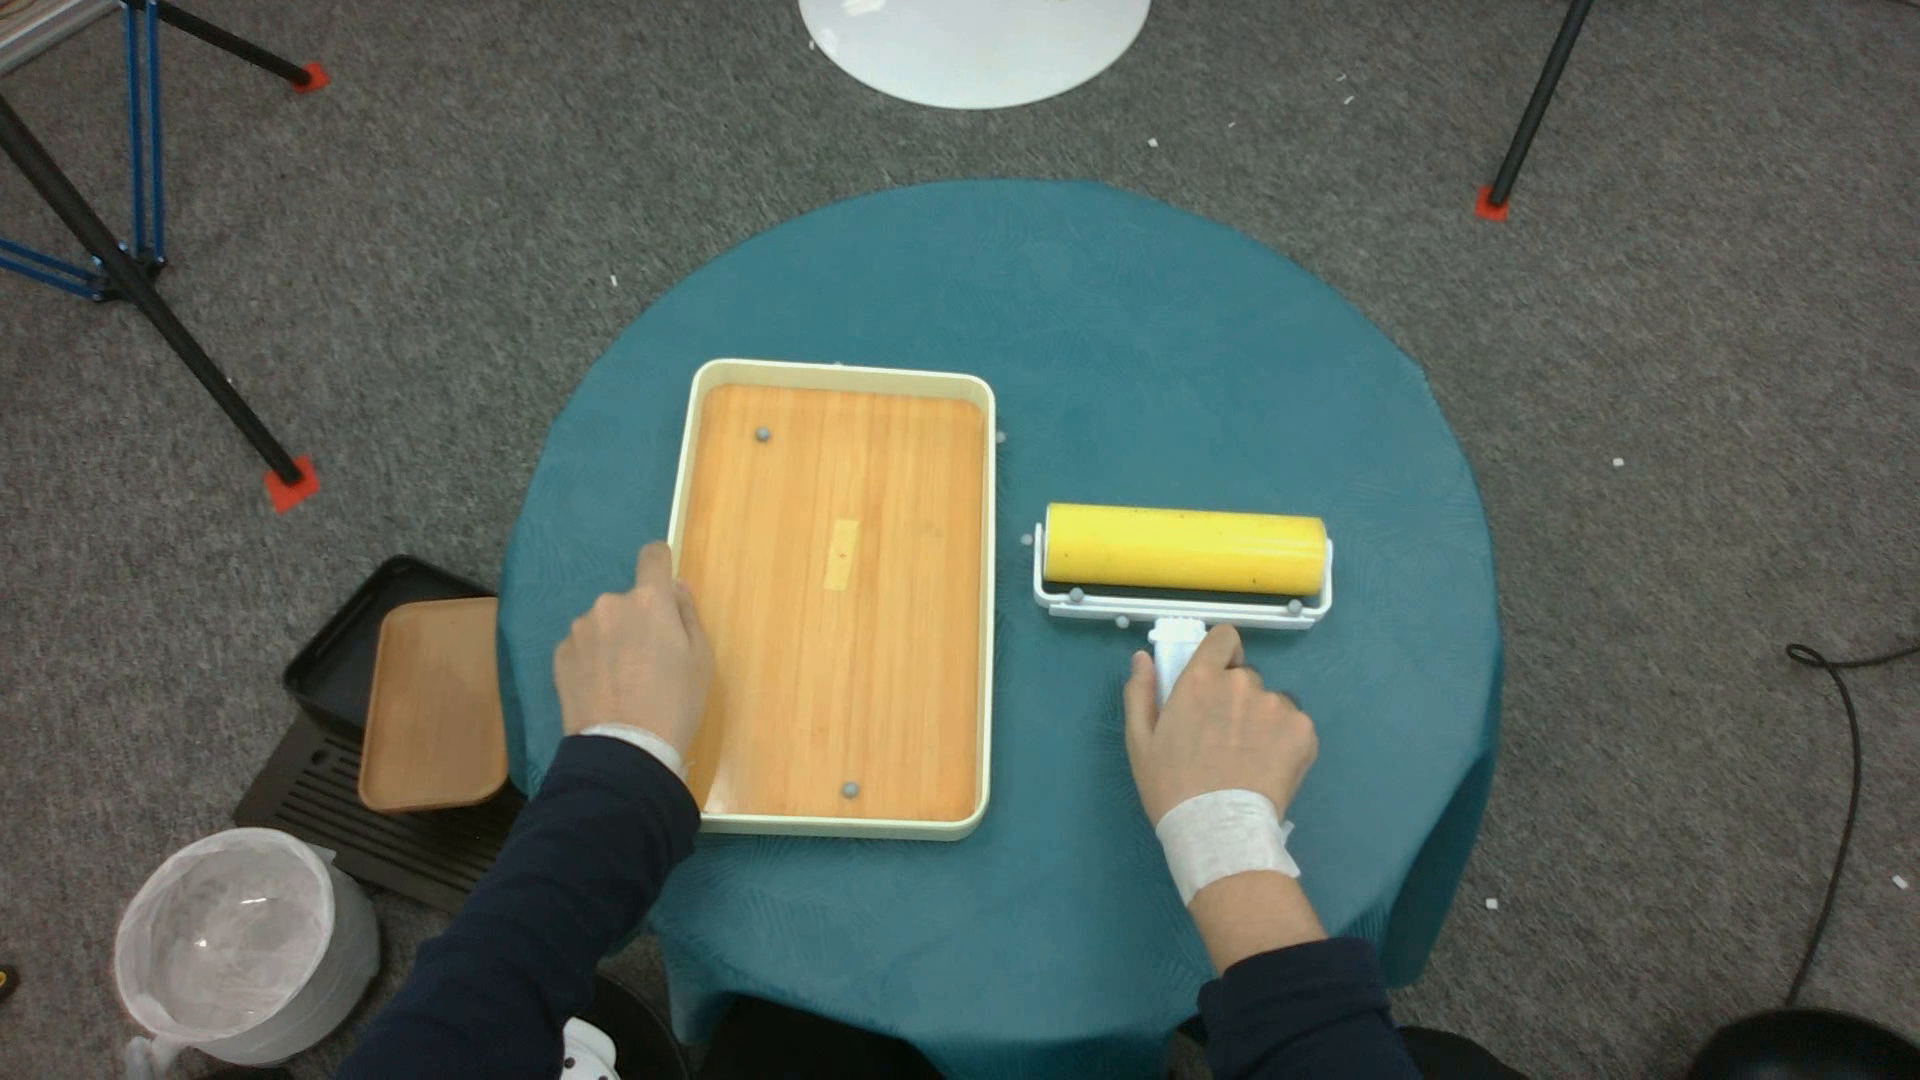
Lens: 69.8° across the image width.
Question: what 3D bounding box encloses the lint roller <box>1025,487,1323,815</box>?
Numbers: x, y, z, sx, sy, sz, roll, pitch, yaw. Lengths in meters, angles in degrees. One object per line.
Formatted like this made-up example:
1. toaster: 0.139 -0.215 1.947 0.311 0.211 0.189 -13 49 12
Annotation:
1. lint roller: 0.123 0.056 0.778 0.174 0.051 0.193 1 57 1

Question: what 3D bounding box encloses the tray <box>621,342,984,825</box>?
1. tray: -0.083 0.015 0.806 0.191 0.027 0.301 3 61 -2
